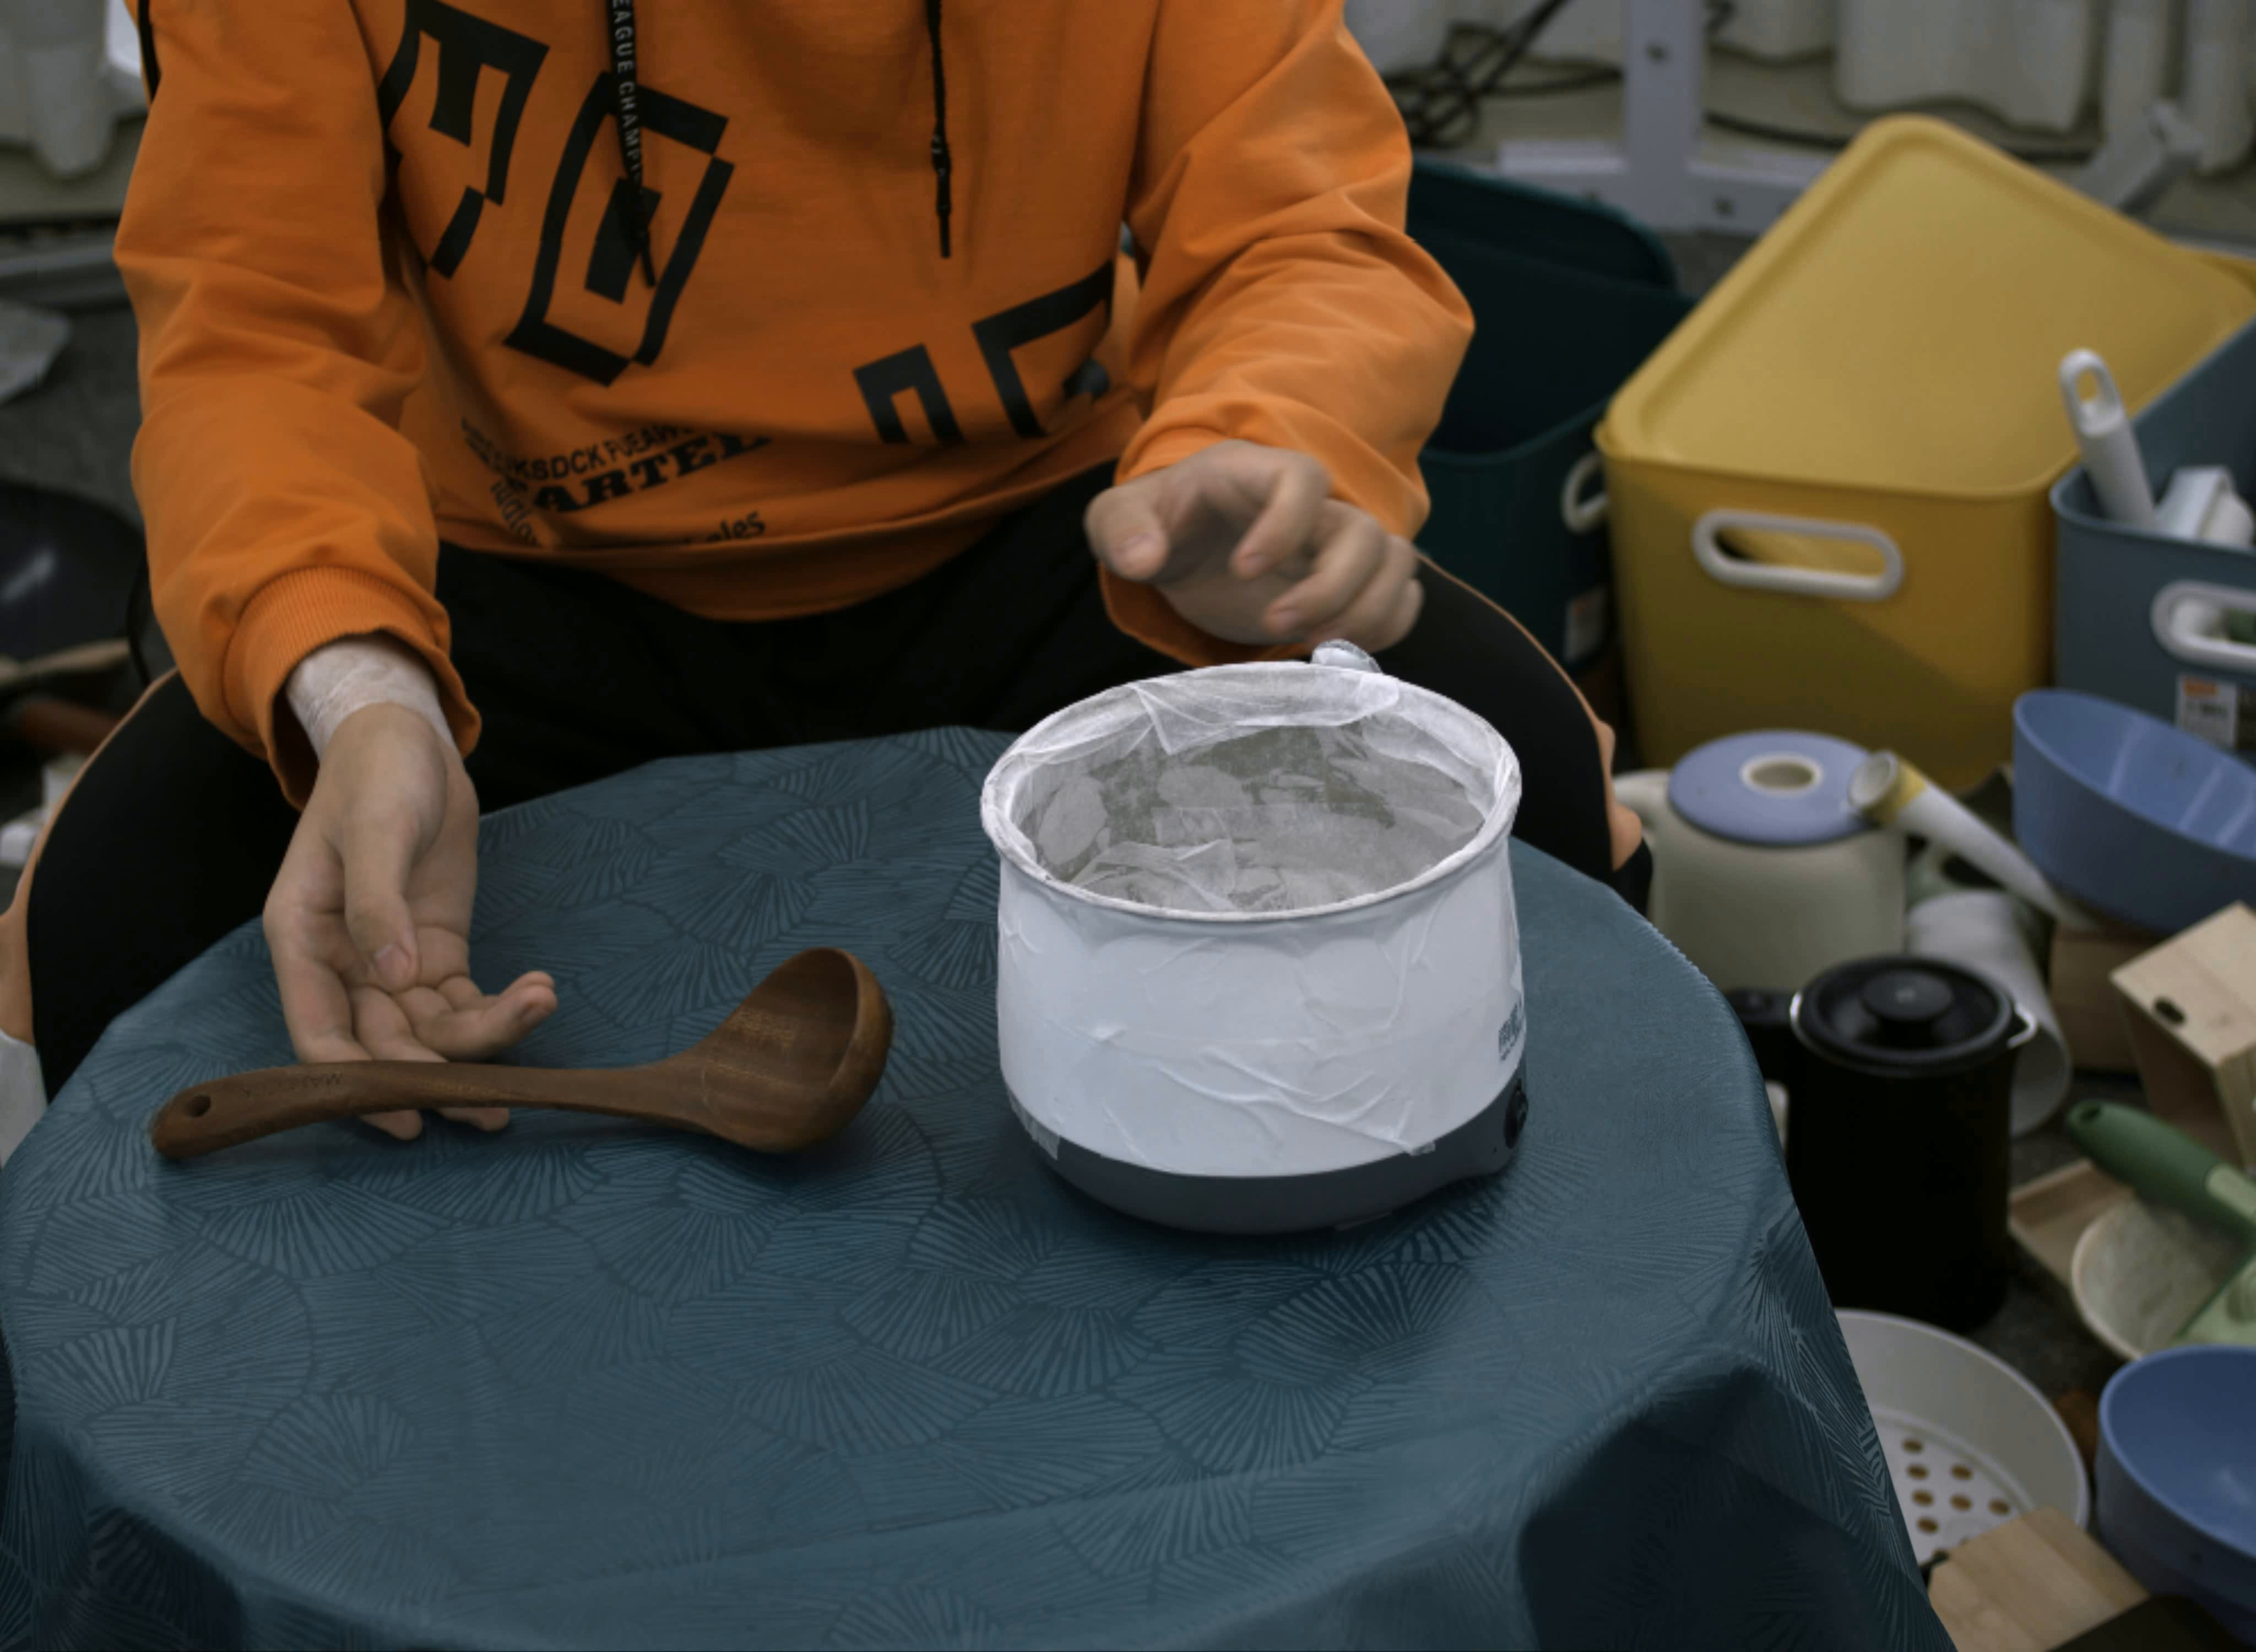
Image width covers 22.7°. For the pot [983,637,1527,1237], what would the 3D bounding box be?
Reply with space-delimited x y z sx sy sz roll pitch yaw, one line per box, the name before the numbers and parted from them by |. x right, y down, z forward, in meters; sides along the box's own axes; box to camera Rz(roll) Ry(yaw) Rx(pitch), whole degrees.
pot | 0.051 0.029 1.887 0.177 0.135 0.238 6 29 16

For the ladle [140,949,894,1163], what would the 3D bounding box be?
ladle | -0.207 0.082 1.892 0.259 0.064 0.078 -2 41 0
